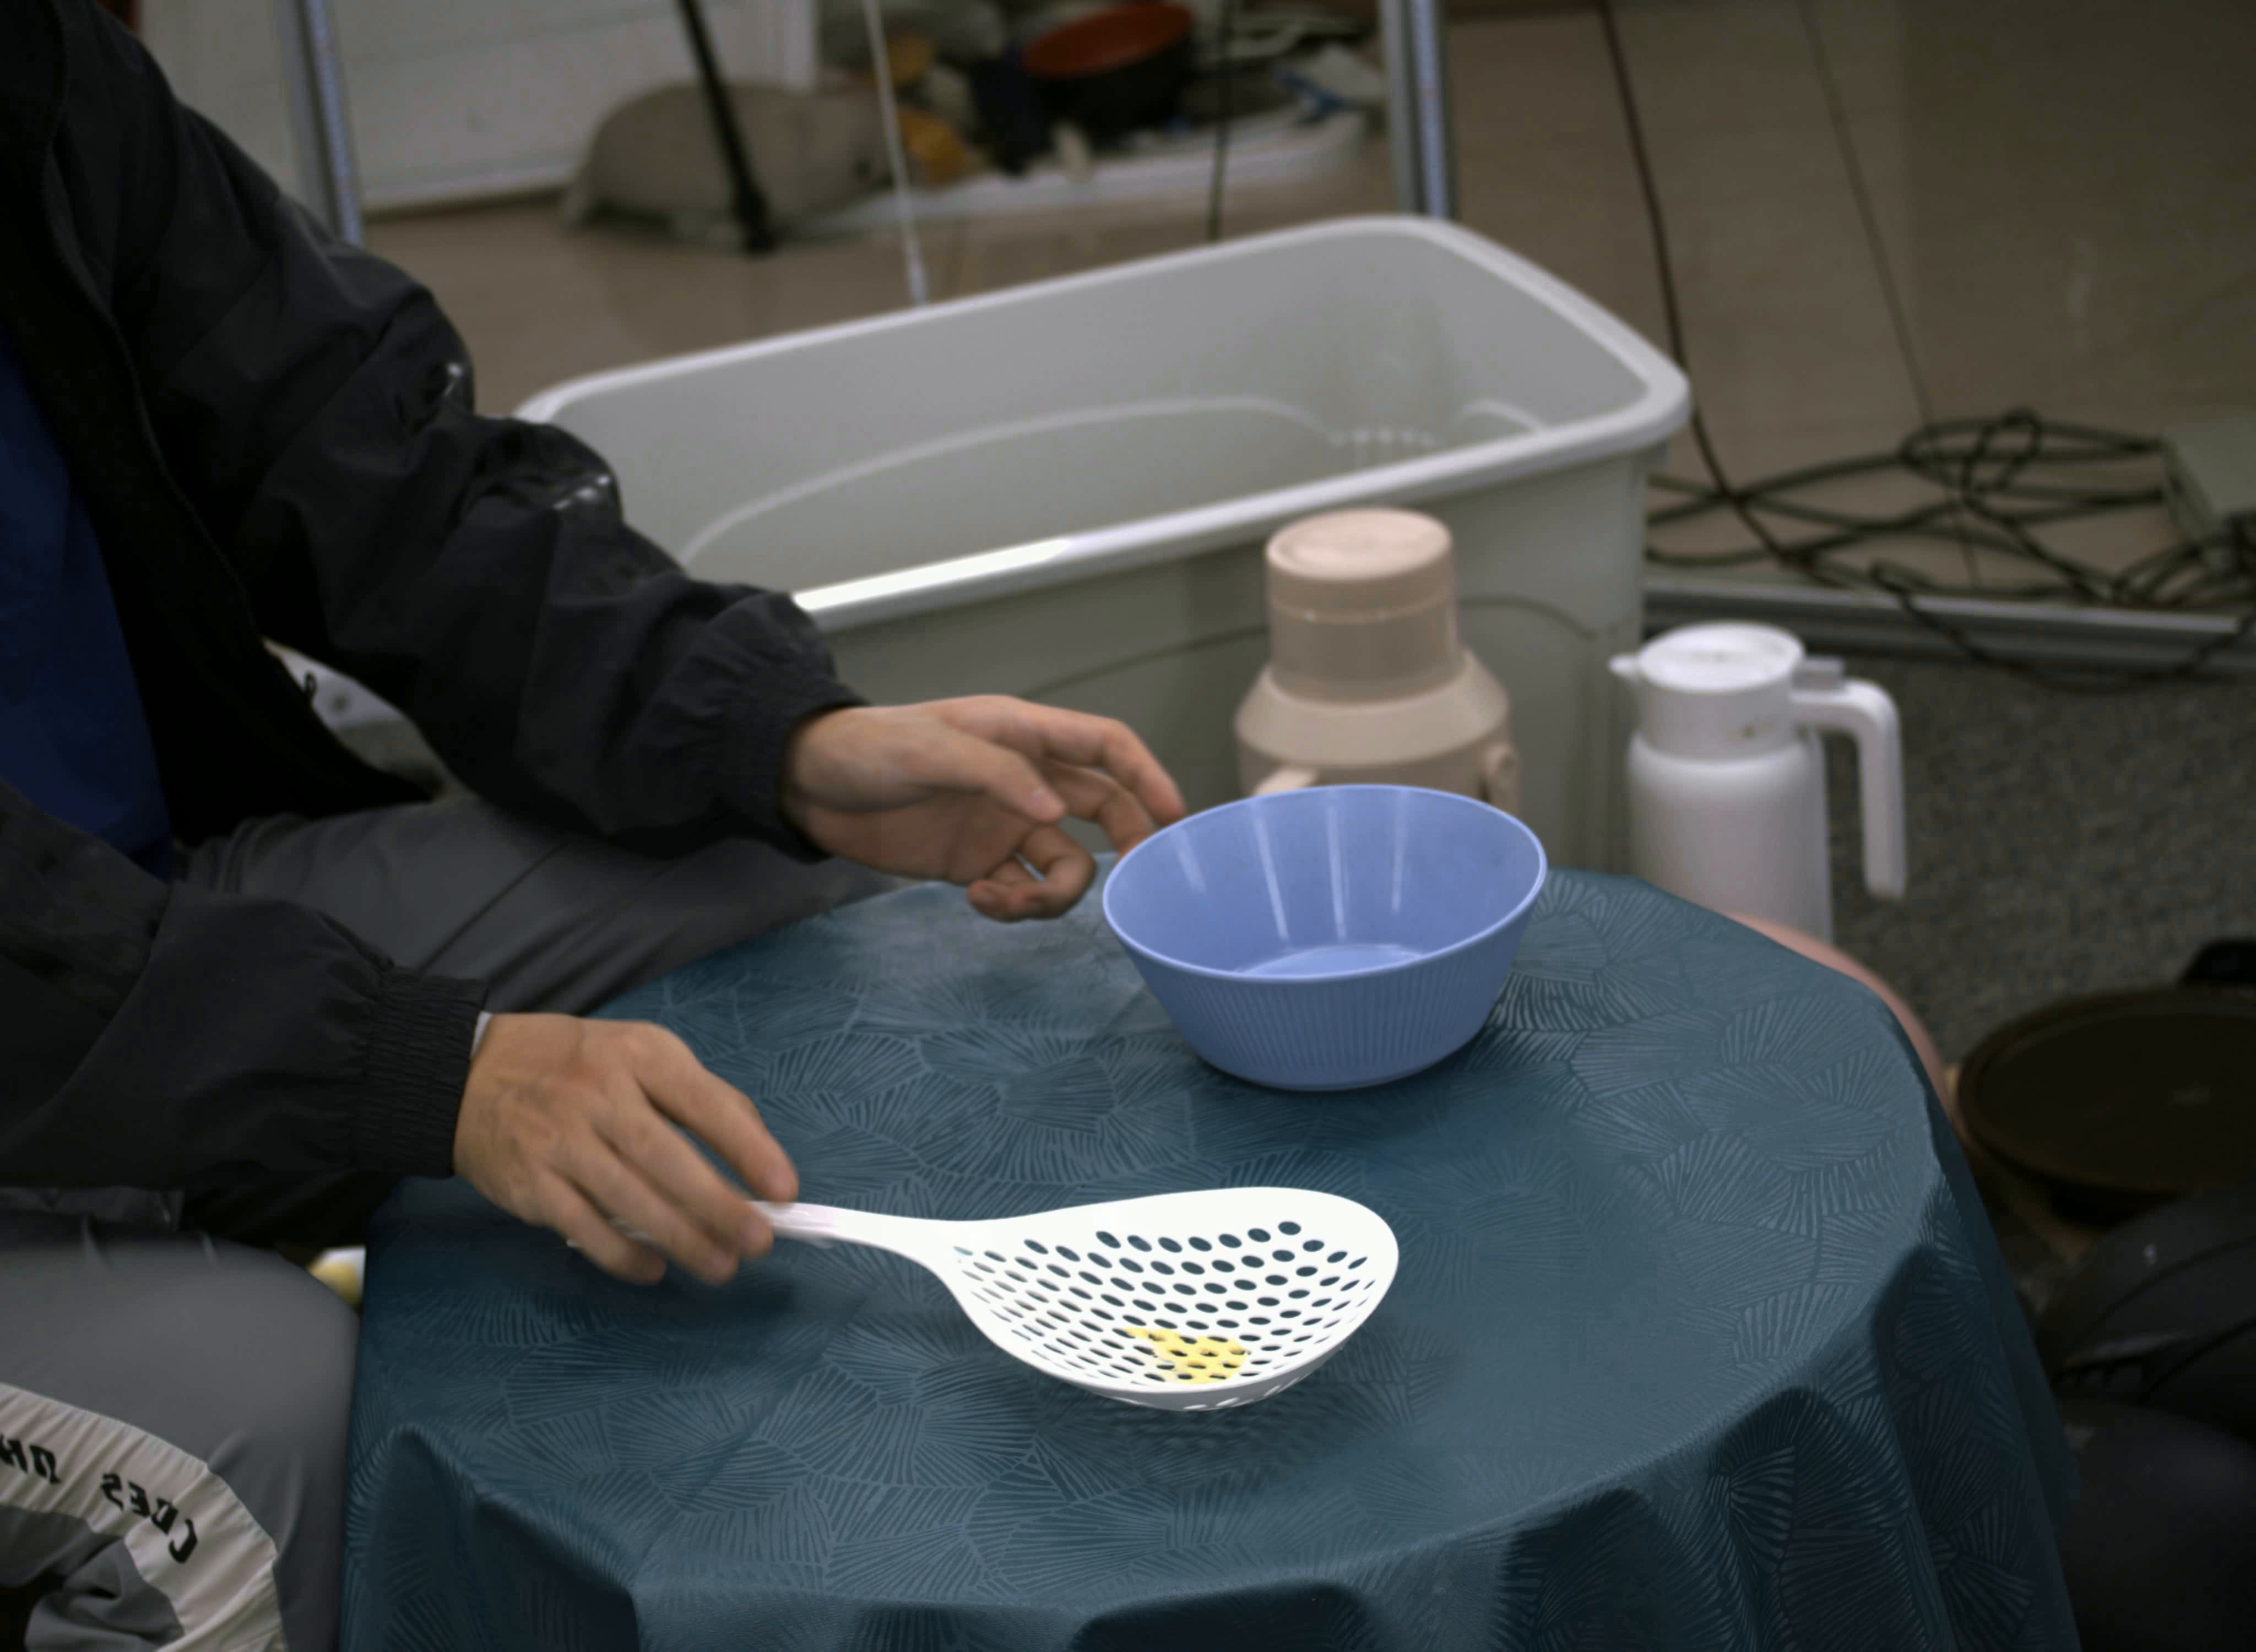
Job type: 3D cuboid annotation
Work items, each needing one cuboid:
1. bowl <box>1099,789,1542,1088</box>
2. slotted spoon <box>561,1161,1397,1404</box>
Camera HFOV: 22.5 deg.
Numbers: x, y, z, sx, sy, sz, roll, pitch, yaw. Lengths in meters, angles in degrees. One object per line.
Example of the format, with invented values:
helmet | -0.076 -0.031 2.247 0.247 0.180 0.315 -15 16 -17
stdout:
bowl | 0.078 0.049 2.236 0.176 0.071 0.173 -6 24 3
slotted spoon | -0.063 0.162 2.062 0.346 0.051 0.135 8 35 29
